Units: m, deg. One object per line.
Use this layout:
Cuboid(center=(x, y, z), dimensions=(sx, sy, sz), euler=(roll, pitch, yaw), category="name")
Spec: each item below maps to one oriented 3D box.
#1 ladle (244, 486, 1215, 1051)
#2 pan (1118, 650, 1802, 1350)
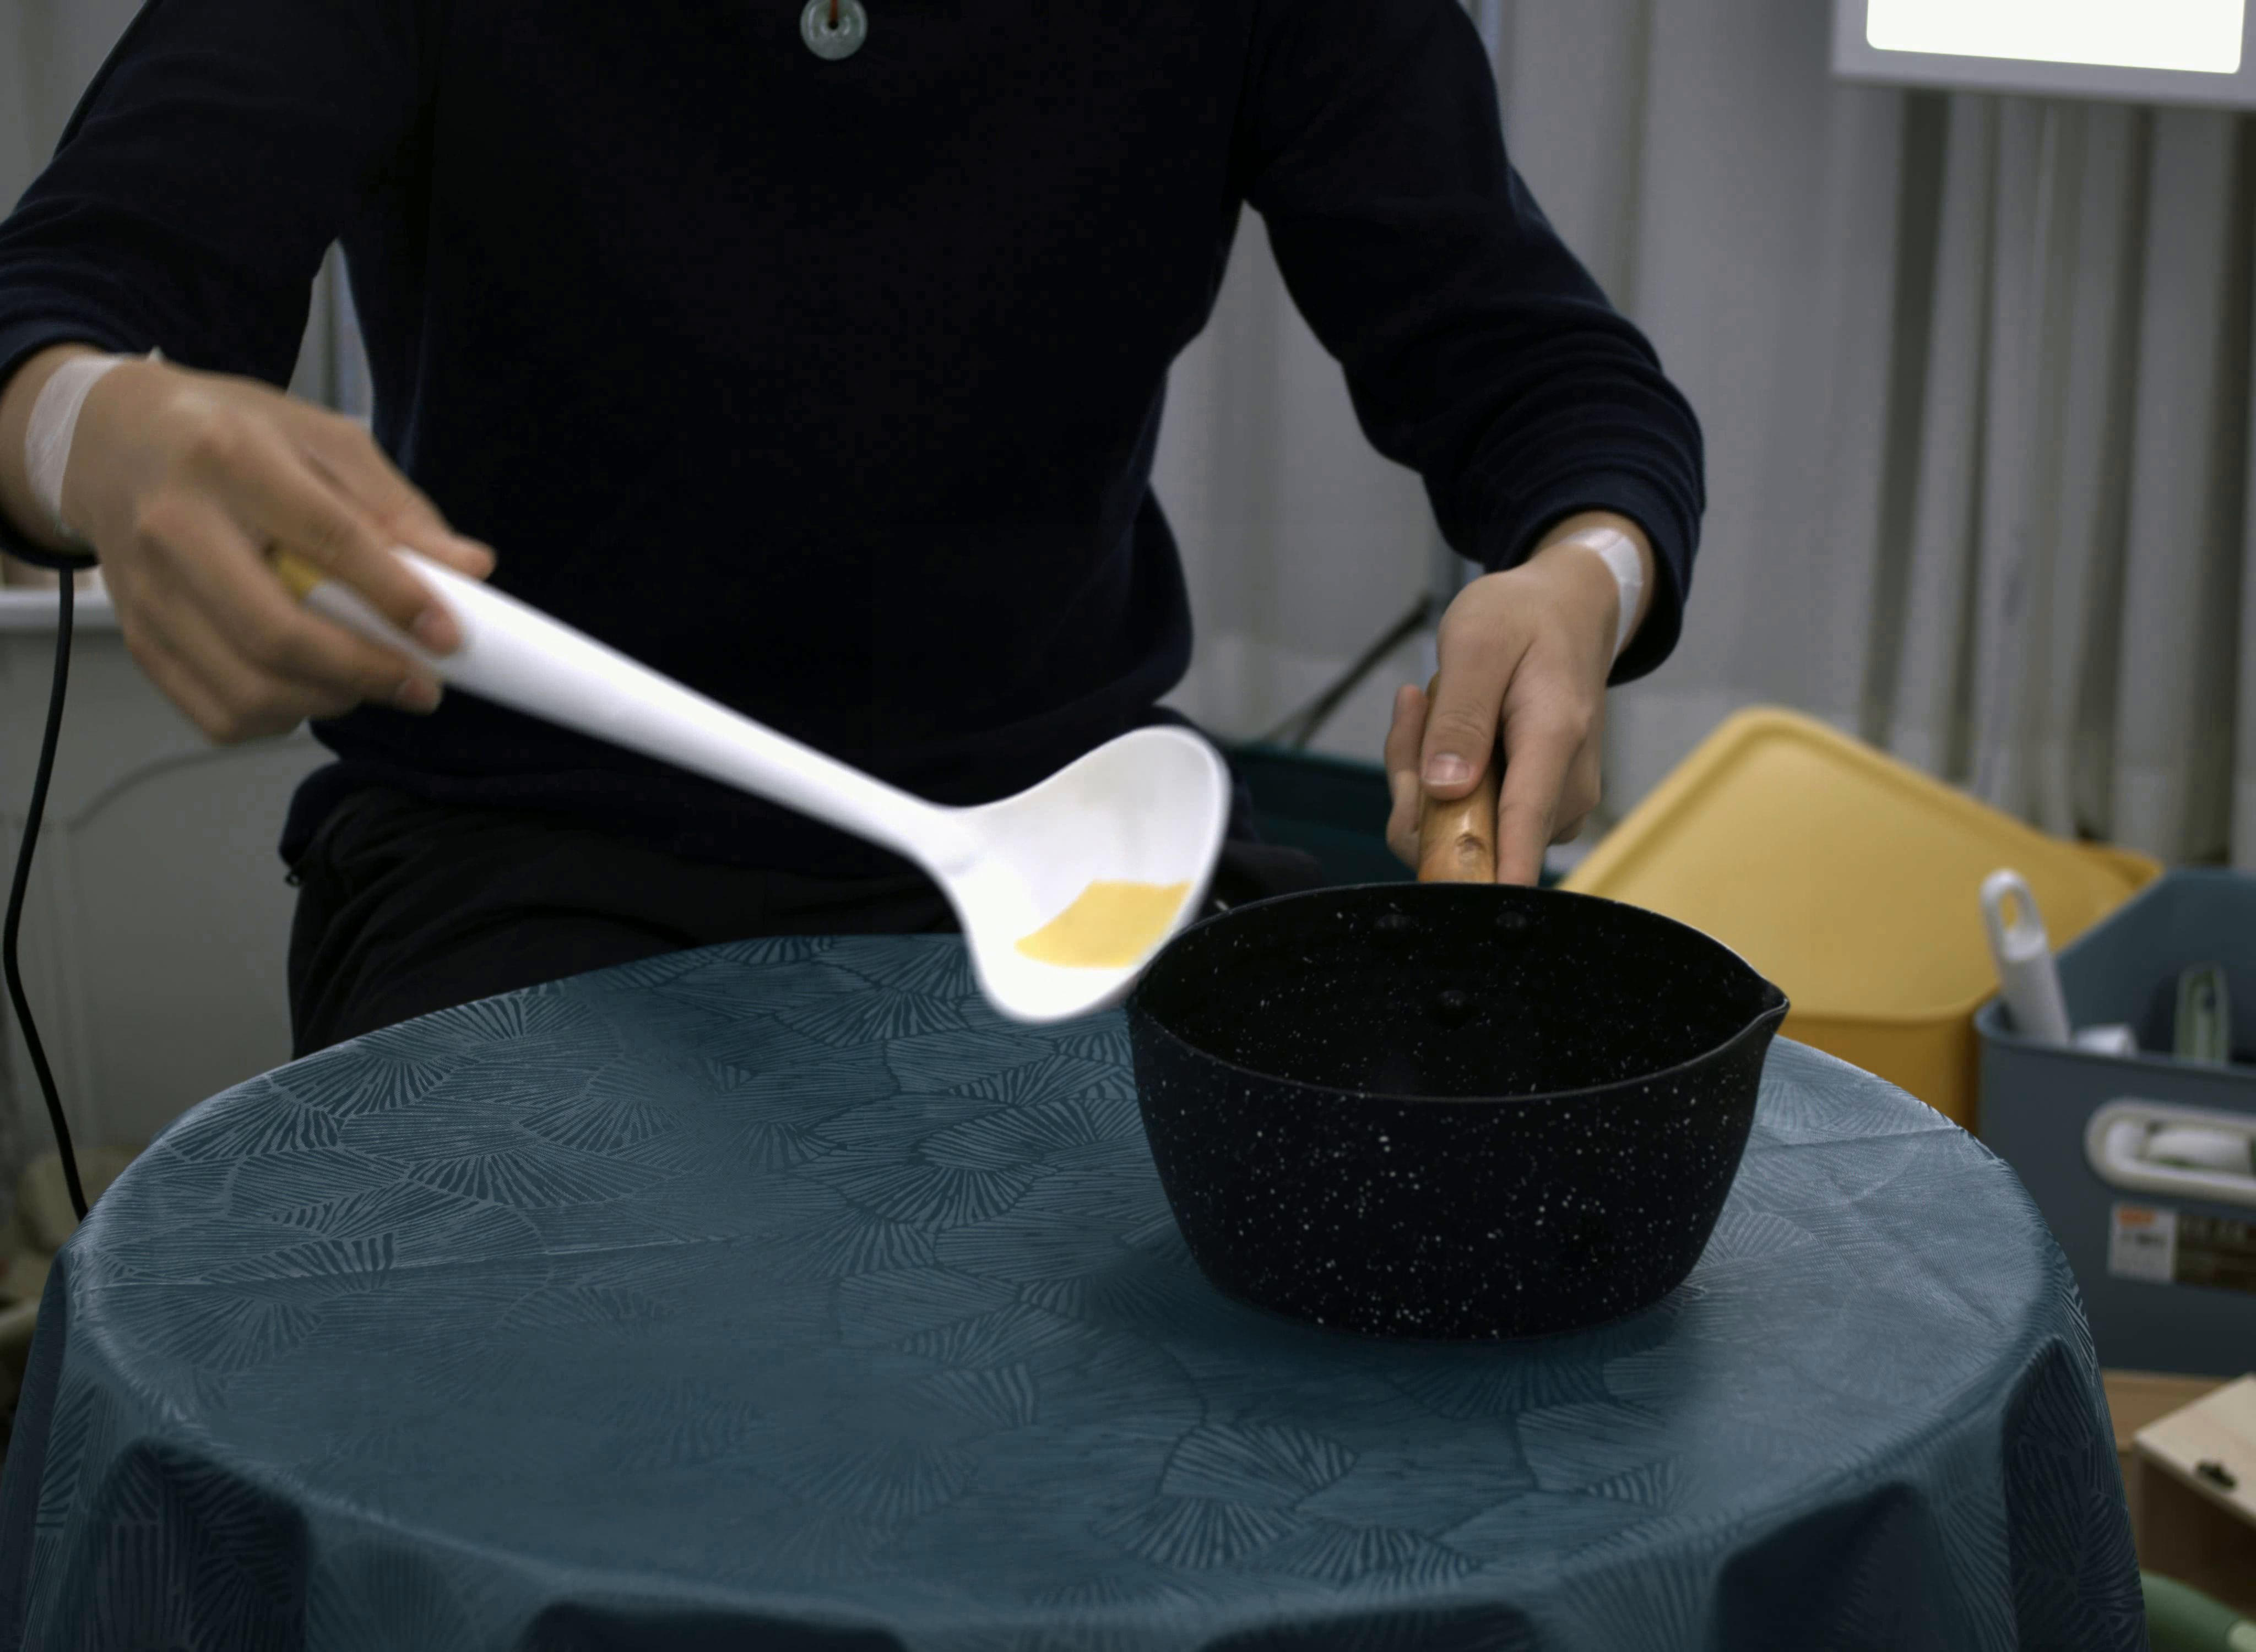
Cuboid(center=(-0.111, -0.026, 1.412), dimensions=(0.291, 0.090, 0.070), euler=(25, -9, 11), category="ladle")
Cuboid(center=(0.098, 0.048, 1.623), dimensions=(0.206, 0.109, 0.341), euler=(0, 20, 3), category="pan")
